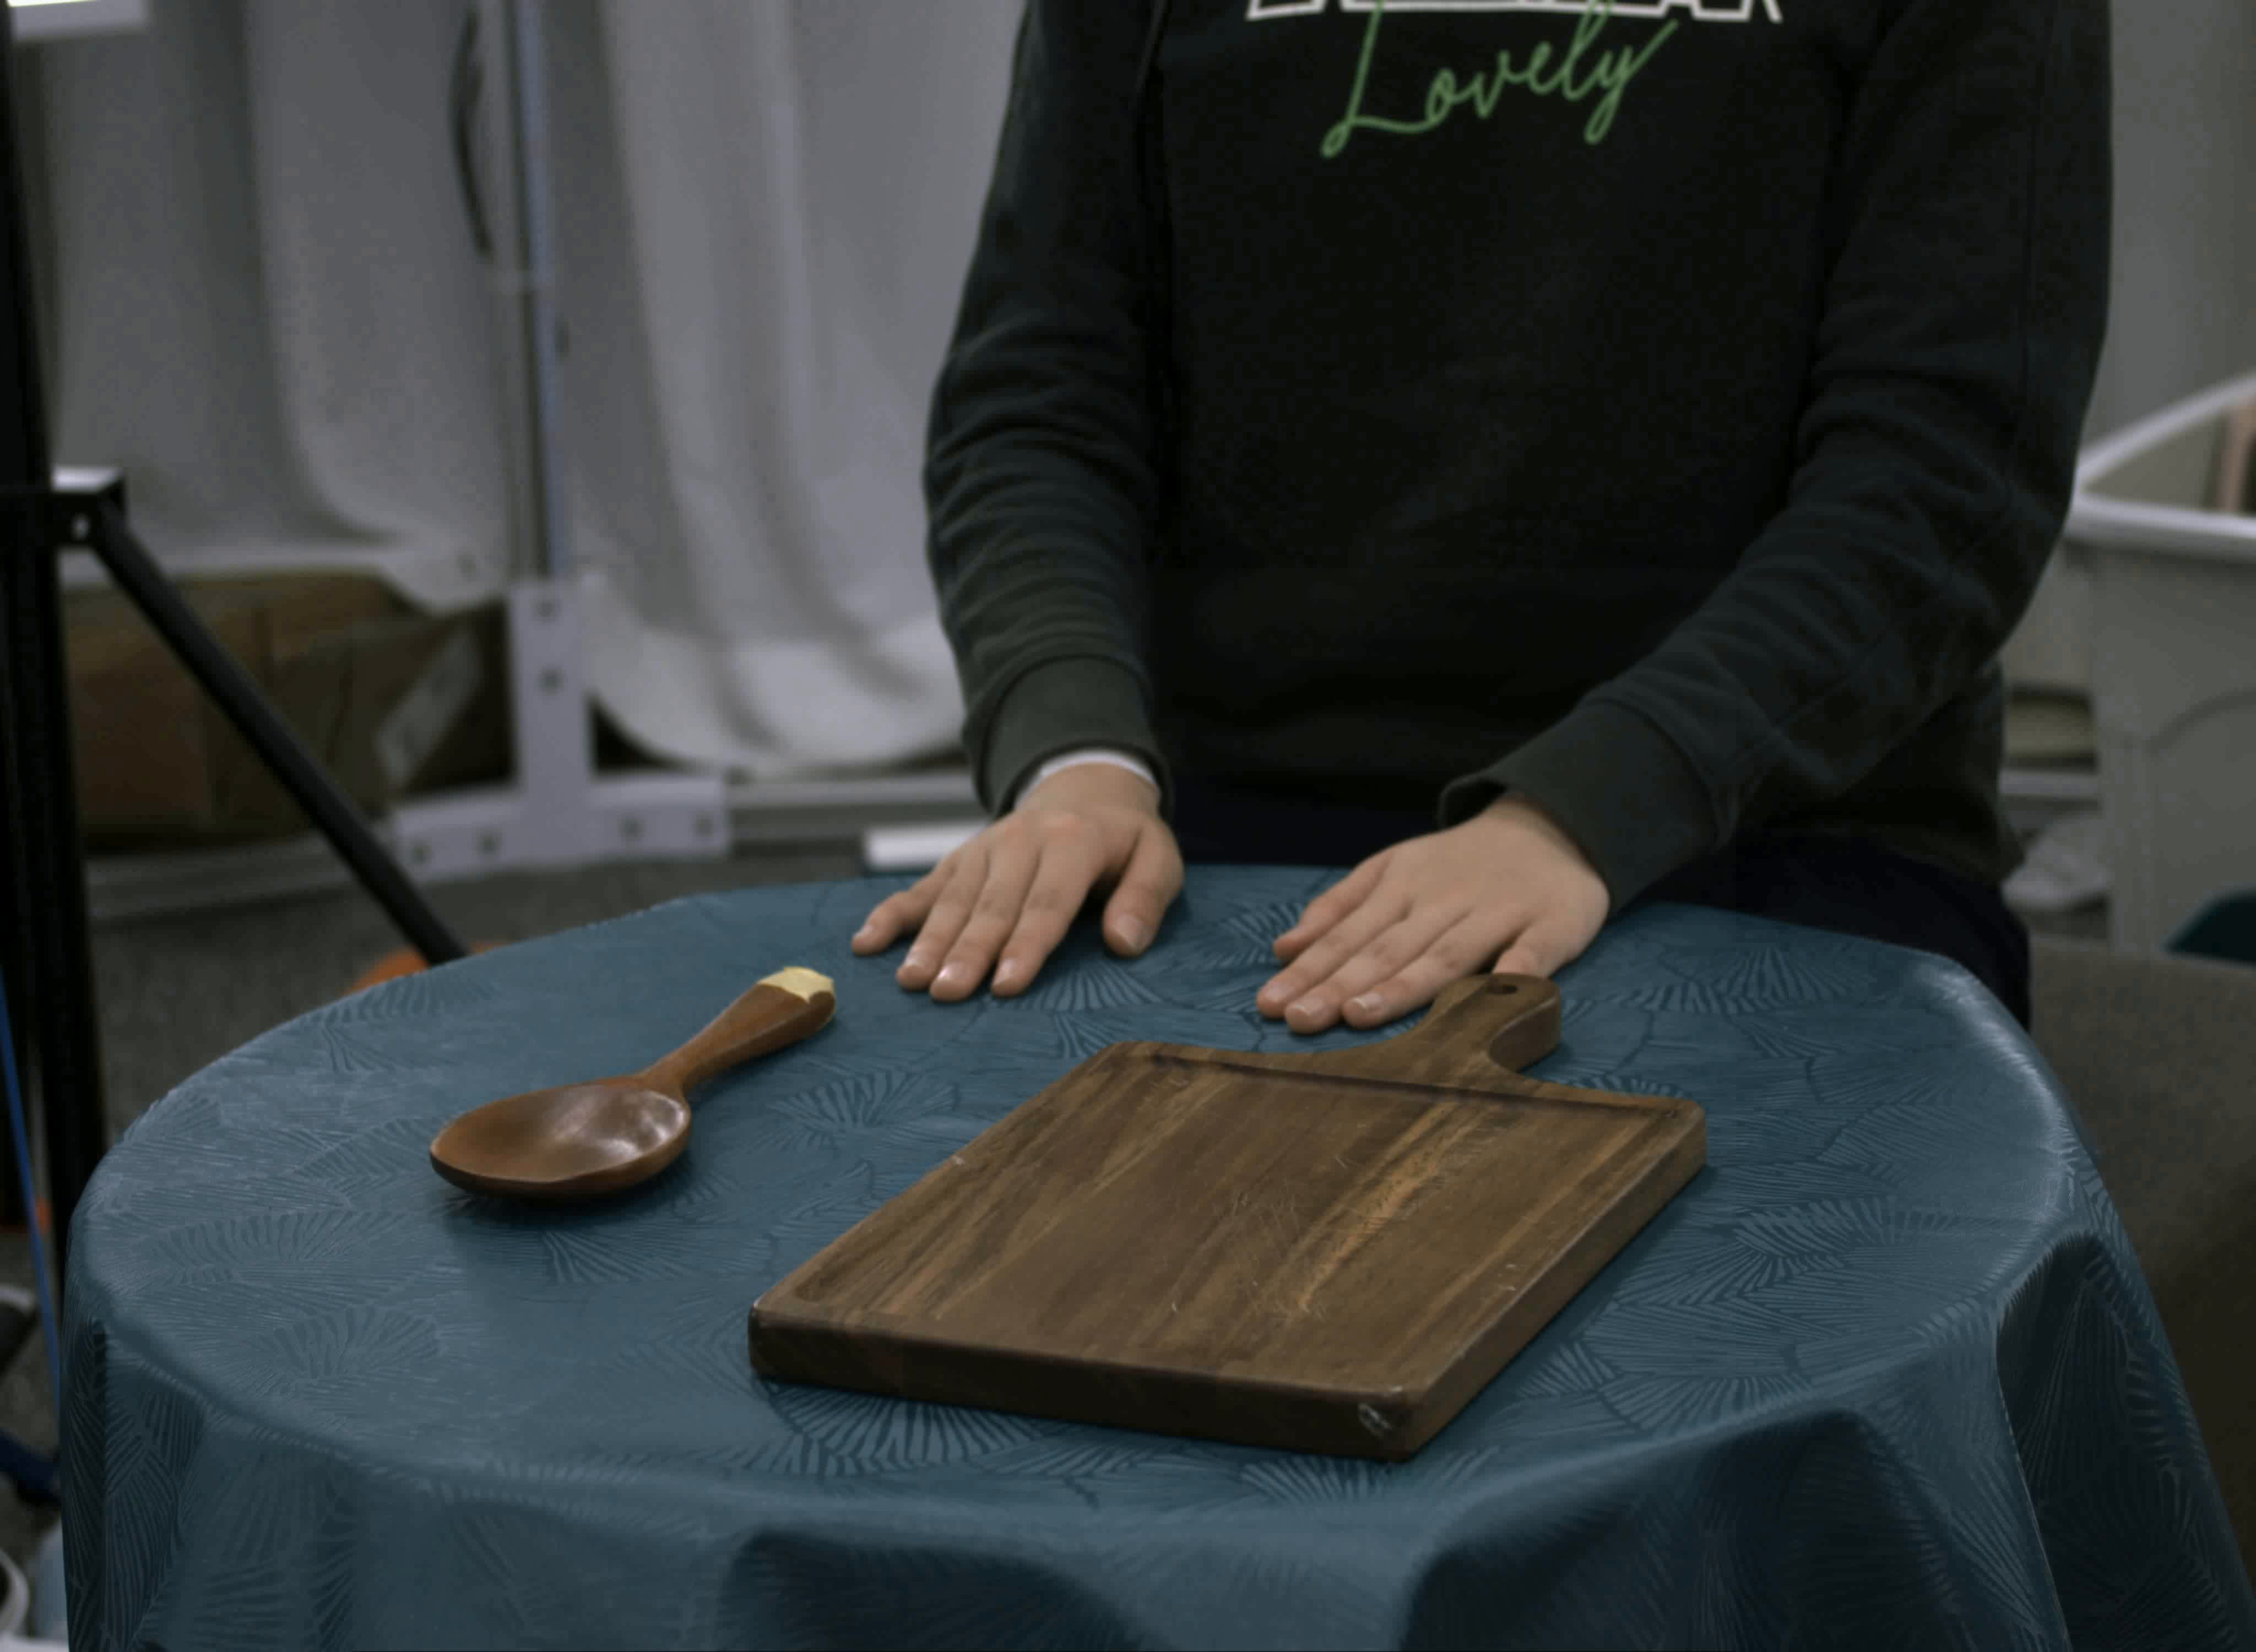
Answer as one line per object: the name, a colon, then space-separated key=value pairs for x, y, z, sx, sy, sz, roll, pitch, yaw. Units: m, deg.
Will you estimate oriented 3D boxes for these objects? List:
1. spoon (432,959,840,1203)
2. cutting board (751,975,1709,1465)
spoon: x=-0.142 y=0.080 z=1.647 sx=0.076 sy=0.017 sz=0.213 roll=2 pitch=17 yaw=24
cutting board: x=0.055 y=0.103 z=1.534 sx=0.204 sy=0.023 sz=0.347 roll=4 pitch=17 yaw=25
